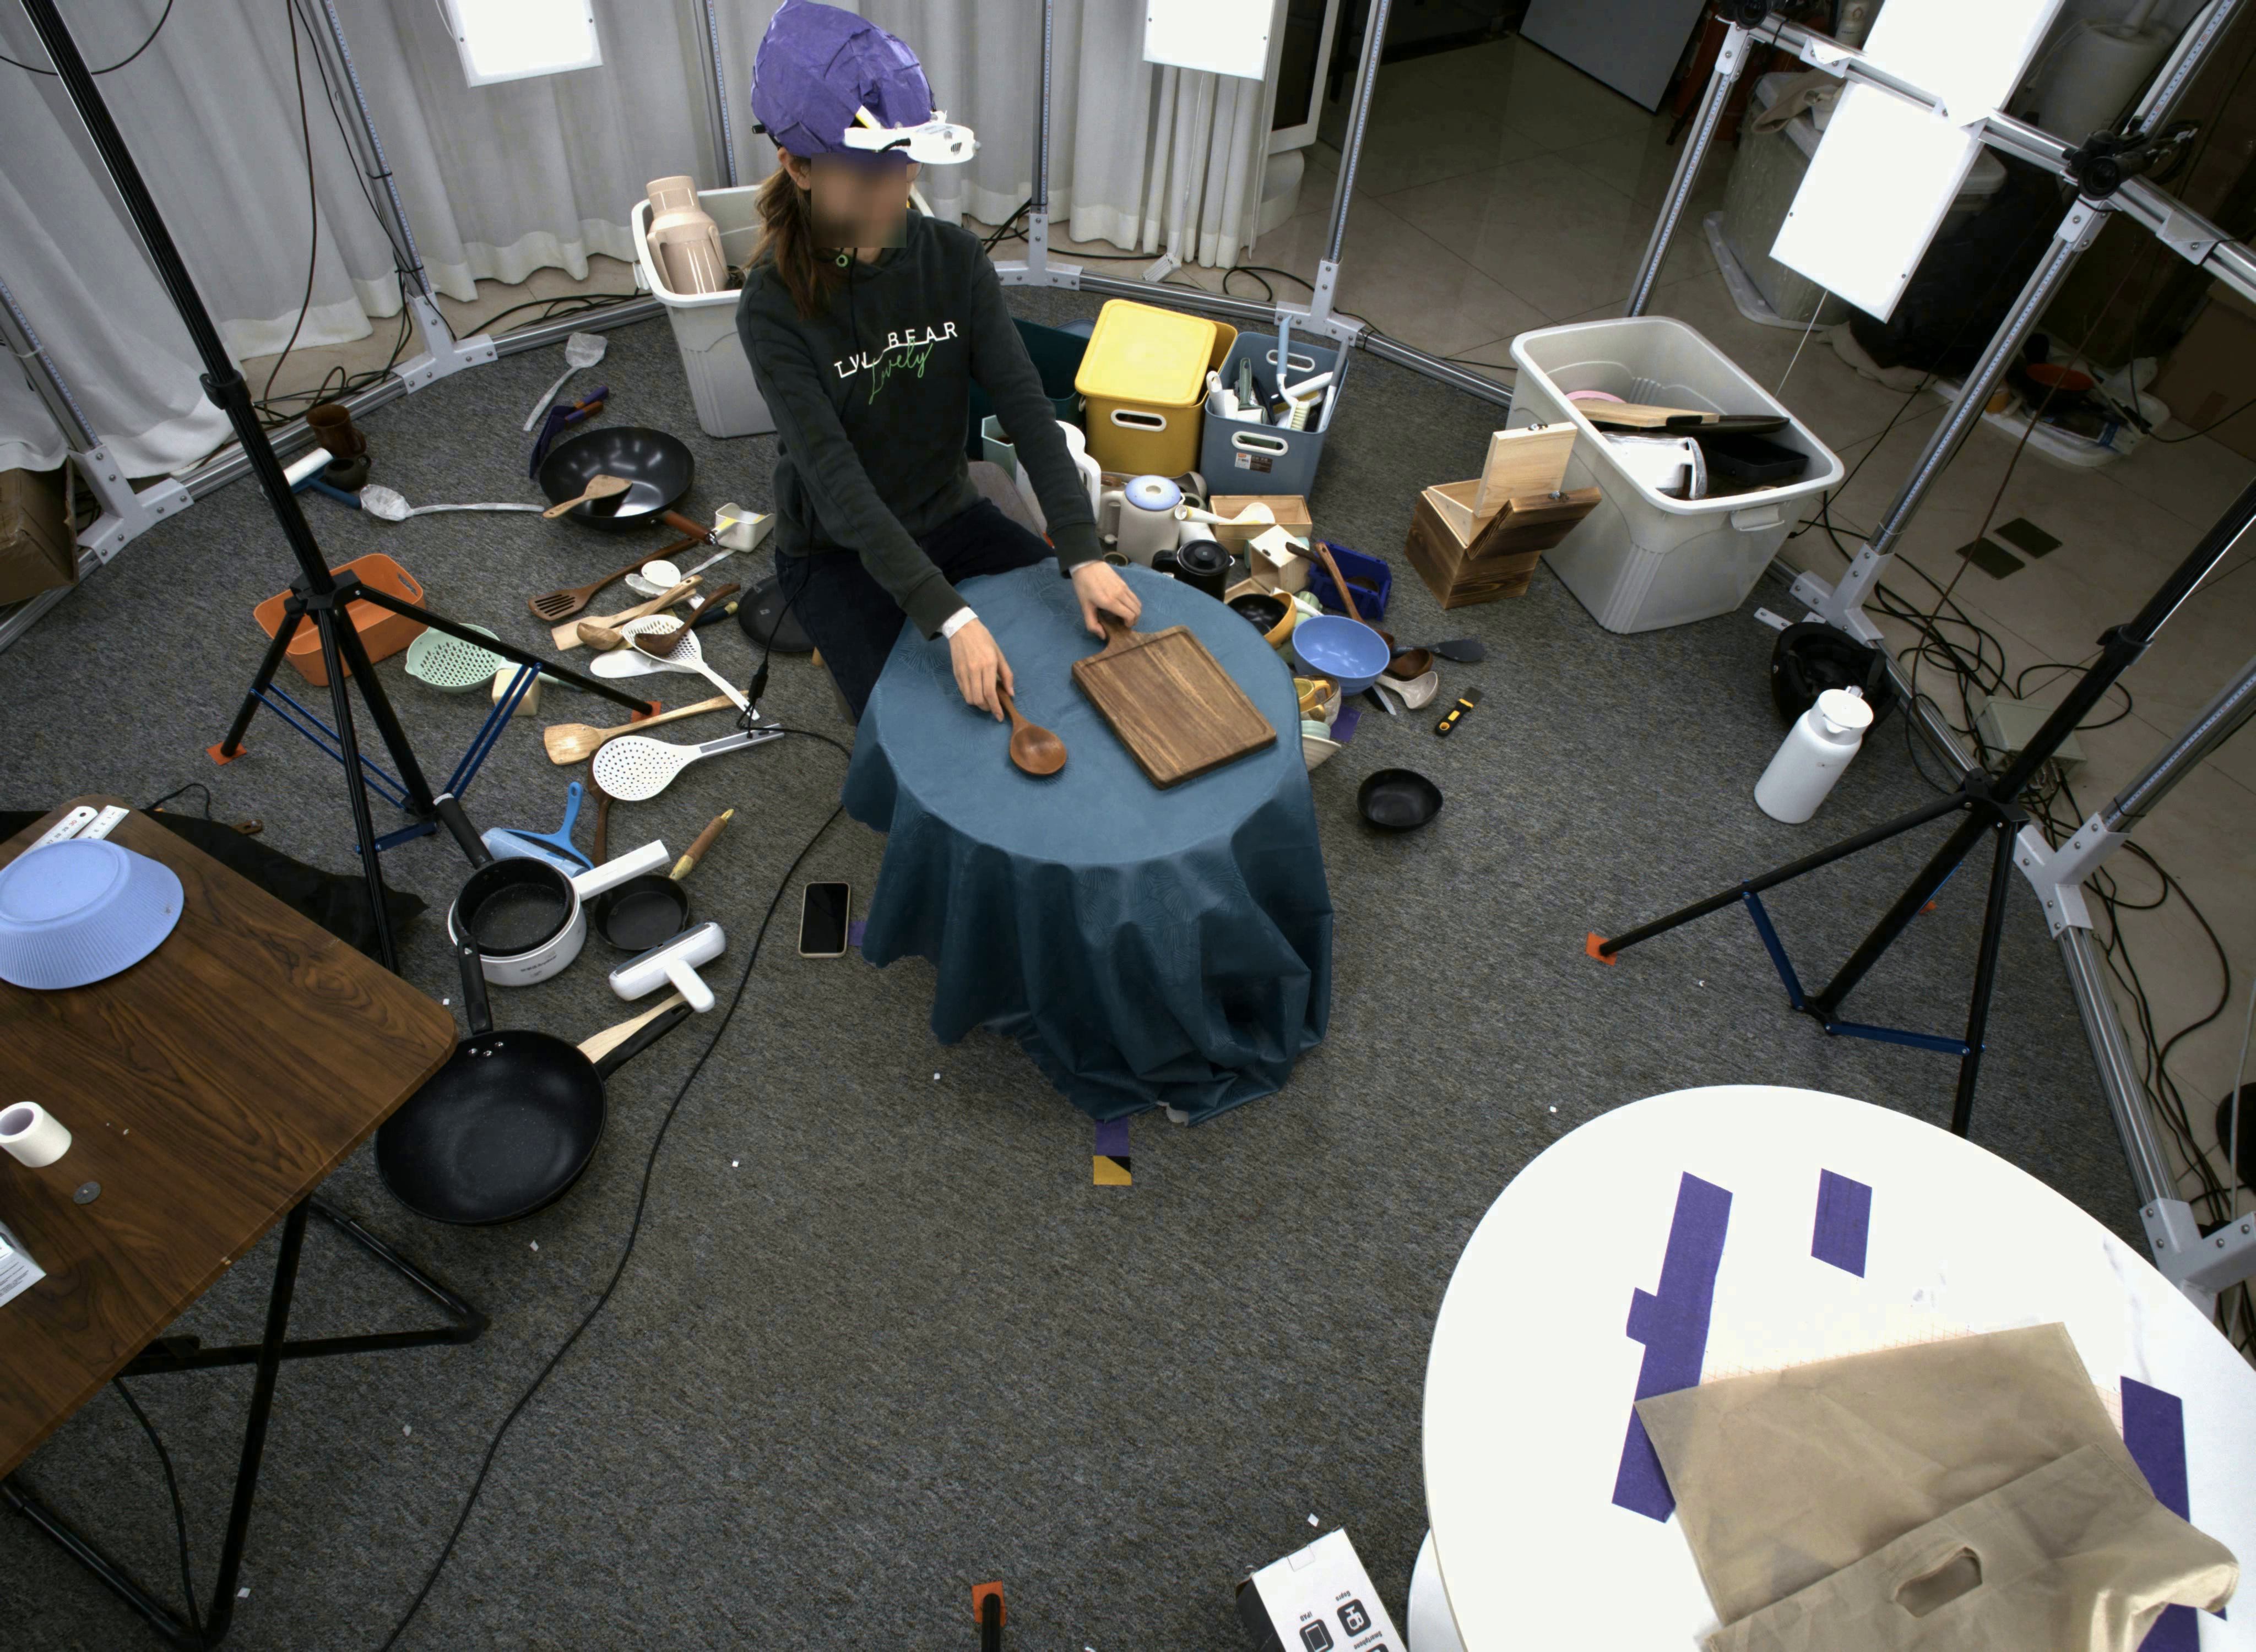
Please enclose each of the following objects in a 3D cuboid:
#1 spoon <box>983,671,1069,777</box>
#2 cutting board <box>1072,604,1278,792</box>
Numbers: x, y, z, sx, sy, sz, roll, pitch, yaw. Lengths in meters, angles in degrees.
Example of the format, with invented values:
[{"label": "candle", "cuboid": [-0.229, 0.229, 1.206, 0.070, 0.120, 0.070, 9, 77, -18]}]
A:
[{"label": "spoon", "cuboid": [-0.149, -0.143, 1.787, 0.075, 0.017, 0.220, -20, 54, -18]}, {"label": "cutting board", "cuboid": [0.040, -0.206, 1.850, 0.201, 0.022, 0.359, -23, 55, -21]}]
